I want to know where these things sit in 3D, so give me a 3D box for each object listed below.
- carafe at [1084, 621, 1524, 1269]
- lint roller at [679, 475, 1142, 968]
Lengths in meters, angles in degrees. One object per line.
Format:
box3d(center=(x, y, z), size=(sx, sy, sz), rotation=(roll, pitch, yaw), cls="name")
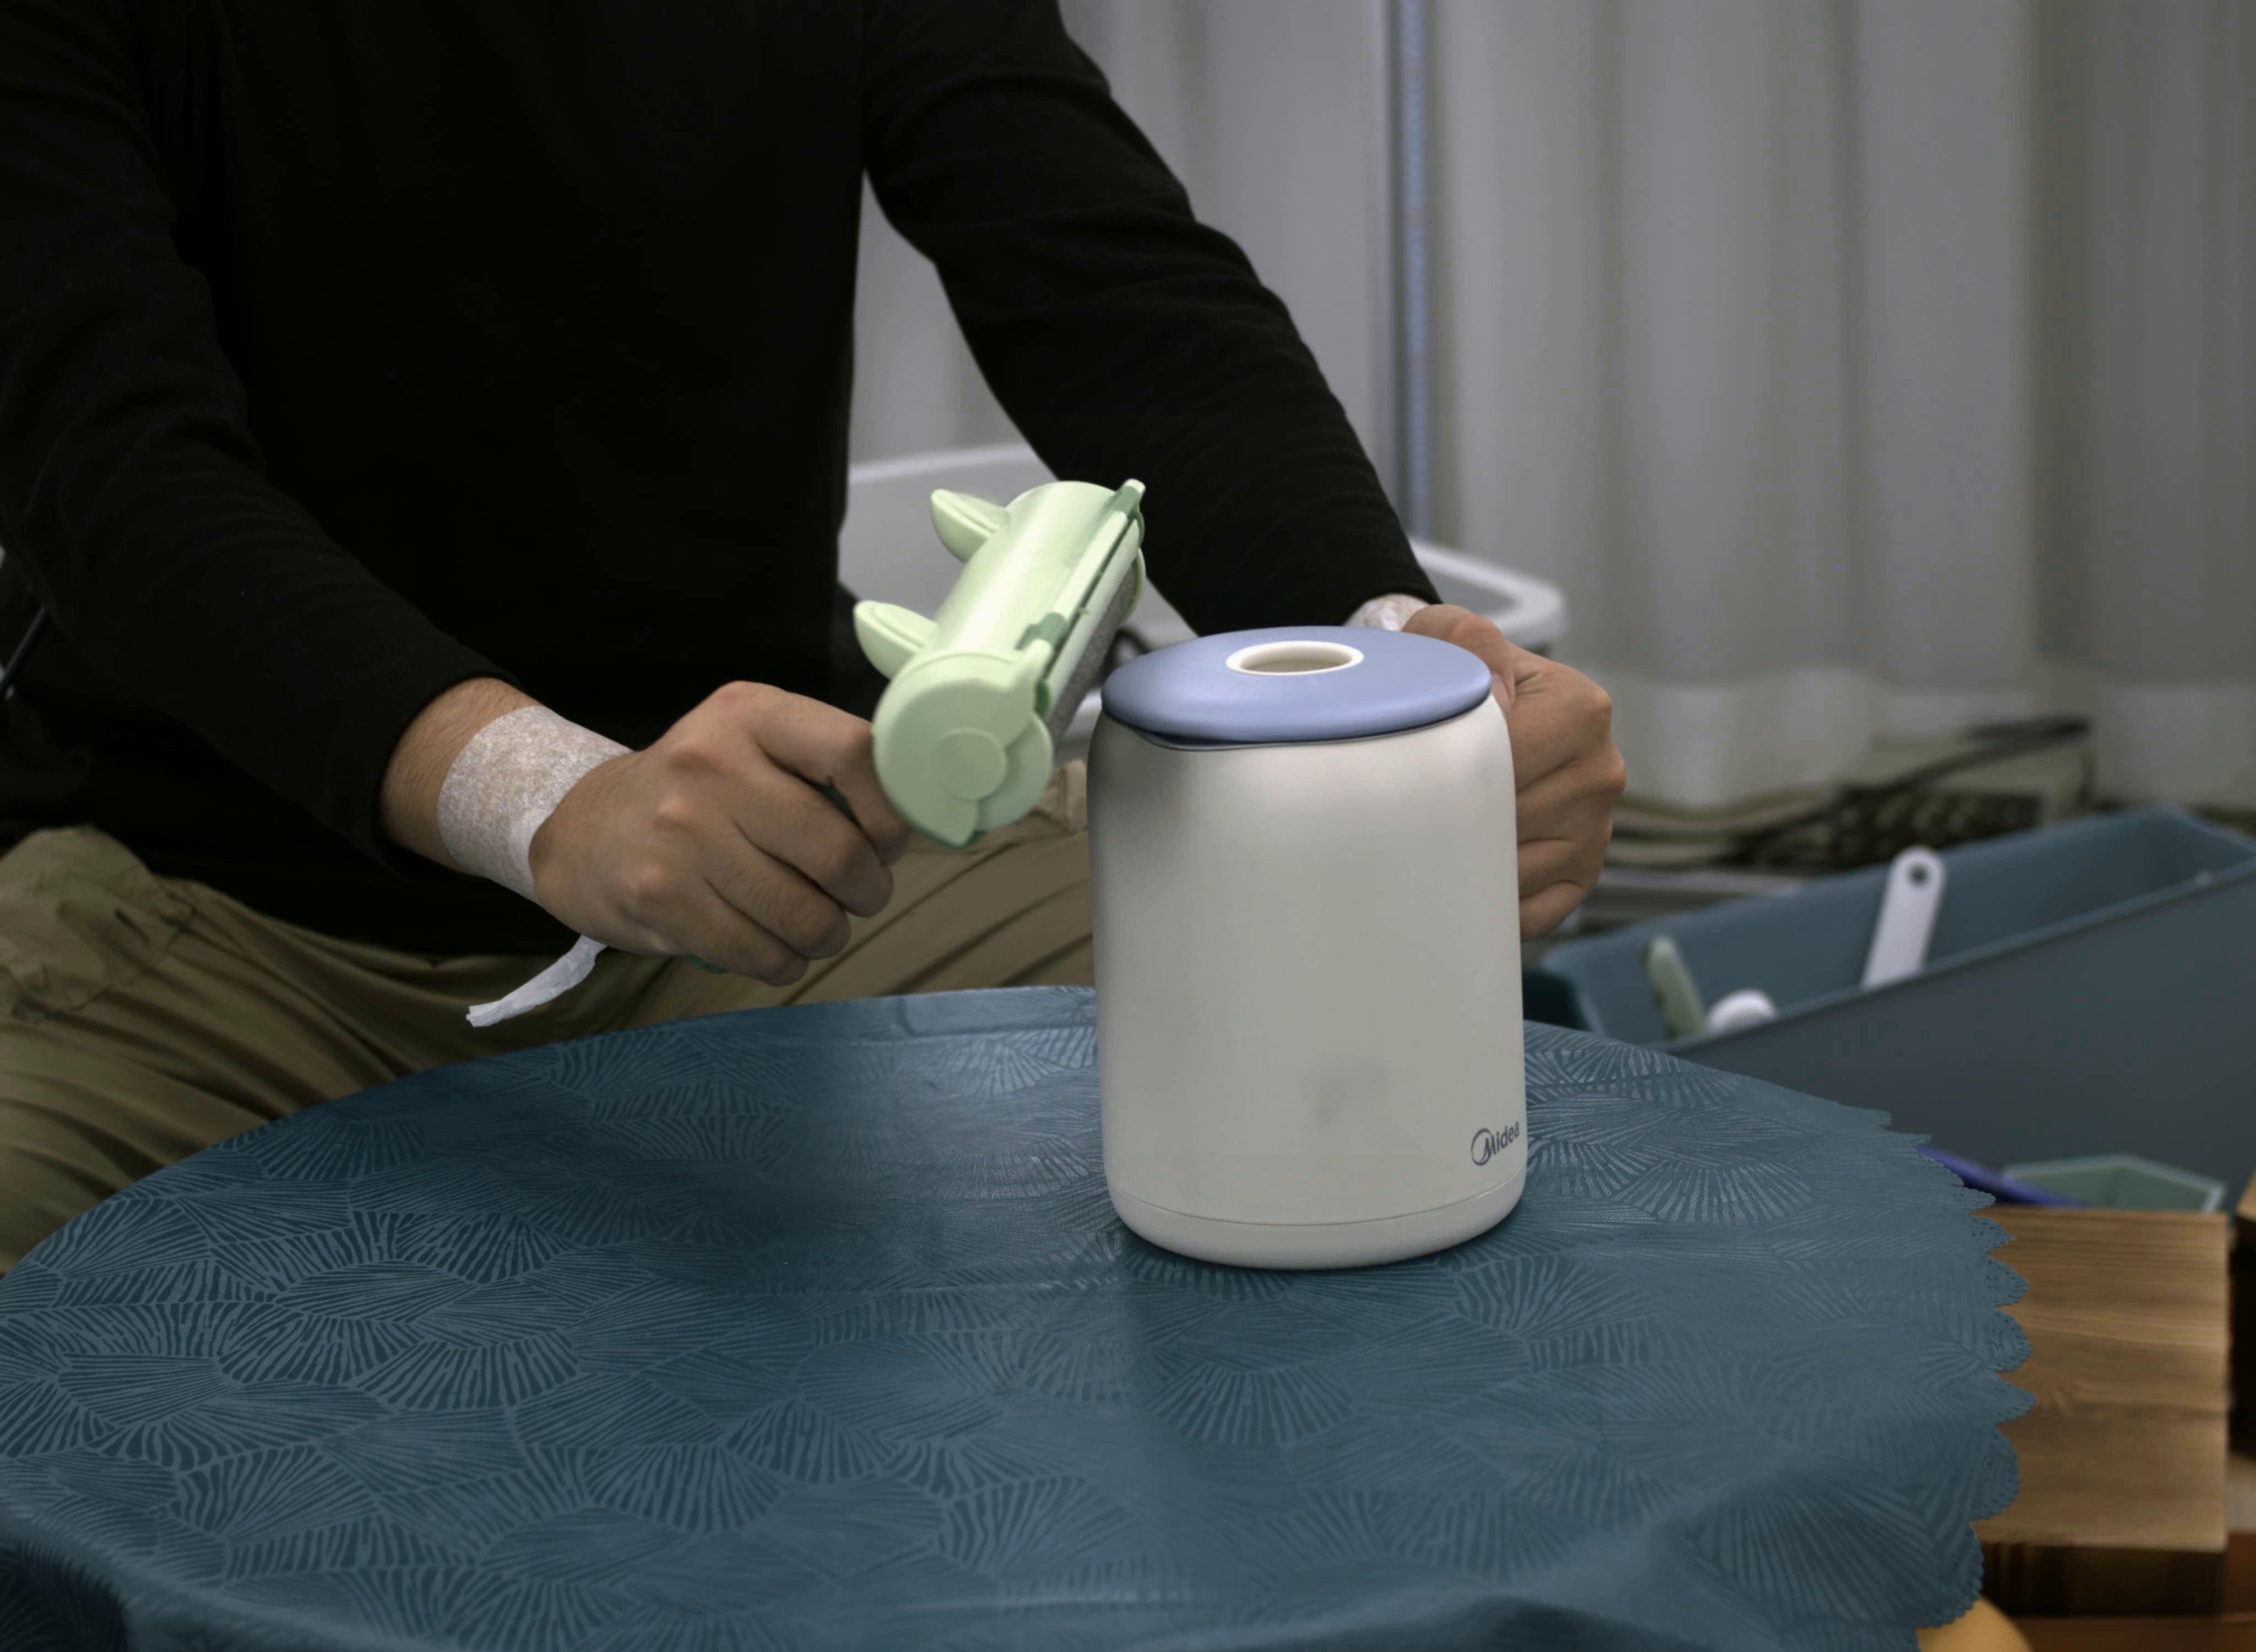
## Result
box3d(center=(0.066, 0.030, 1.689), size=(0.132, 0.182, 0.191), rotation=(6, 15, 31), cls="carafe")
box3d(center=(-0.082, -0.031, 1.664), size=(0.182, 0.082, 0.200), rotation=(-33, 10, 18), cls="lint roller")
